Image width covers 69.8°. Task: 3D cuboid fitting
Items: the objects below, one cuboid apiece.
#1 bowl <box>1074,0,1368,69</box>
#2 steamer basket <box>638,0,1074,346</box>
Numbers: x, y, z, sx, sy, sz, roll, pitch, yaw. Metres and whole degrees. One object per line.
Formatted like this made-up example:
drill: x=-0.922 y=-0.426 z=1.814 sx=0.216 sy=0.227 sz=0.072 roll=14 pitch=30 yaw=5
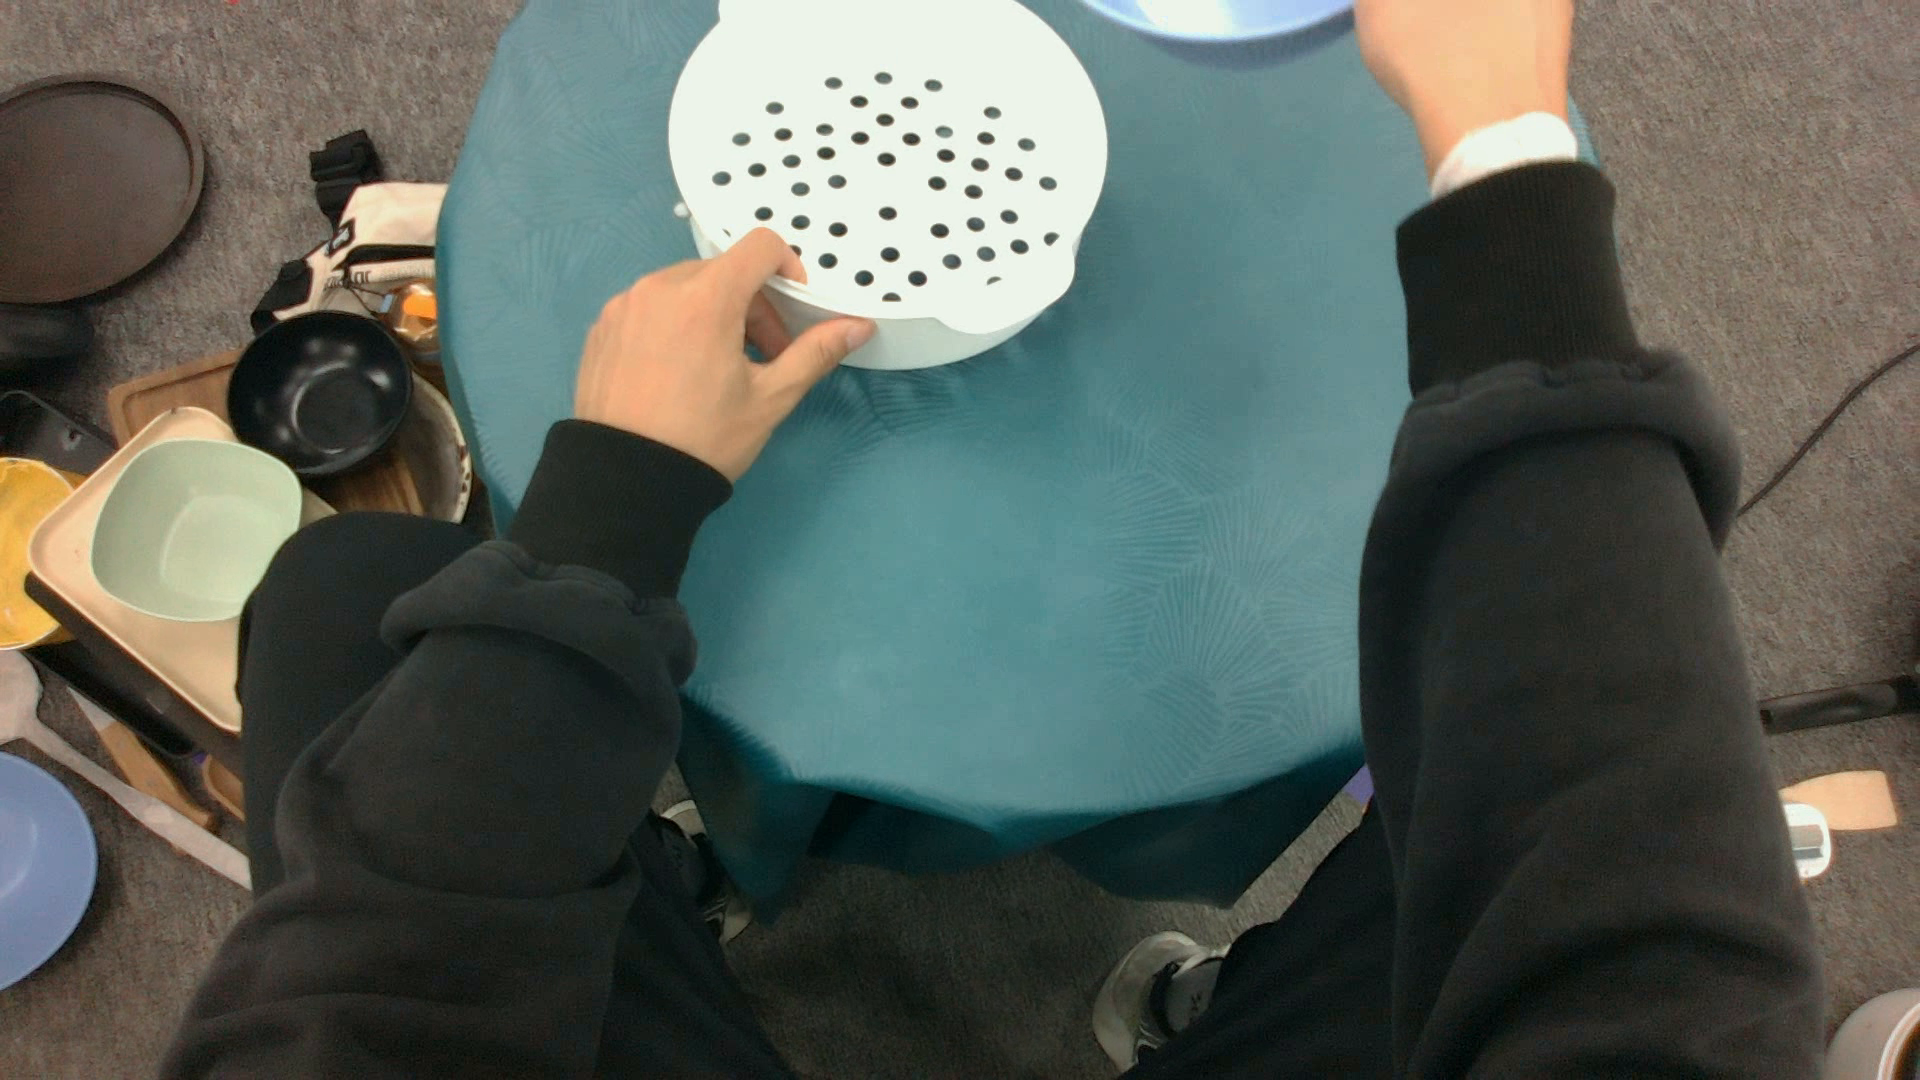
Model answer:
bowl: x=0.107 y=-0.253 z=0.539 sx=0.176 sy=0.070 sz=0.176 roll=-3 pitch=73 yaw=11
steamer basket: x=-0.049 y=-0.187 z=0.662 sx=0.202 sy=0.069 sz=0.231 roll=-30 pitch=70 yaw=-18
